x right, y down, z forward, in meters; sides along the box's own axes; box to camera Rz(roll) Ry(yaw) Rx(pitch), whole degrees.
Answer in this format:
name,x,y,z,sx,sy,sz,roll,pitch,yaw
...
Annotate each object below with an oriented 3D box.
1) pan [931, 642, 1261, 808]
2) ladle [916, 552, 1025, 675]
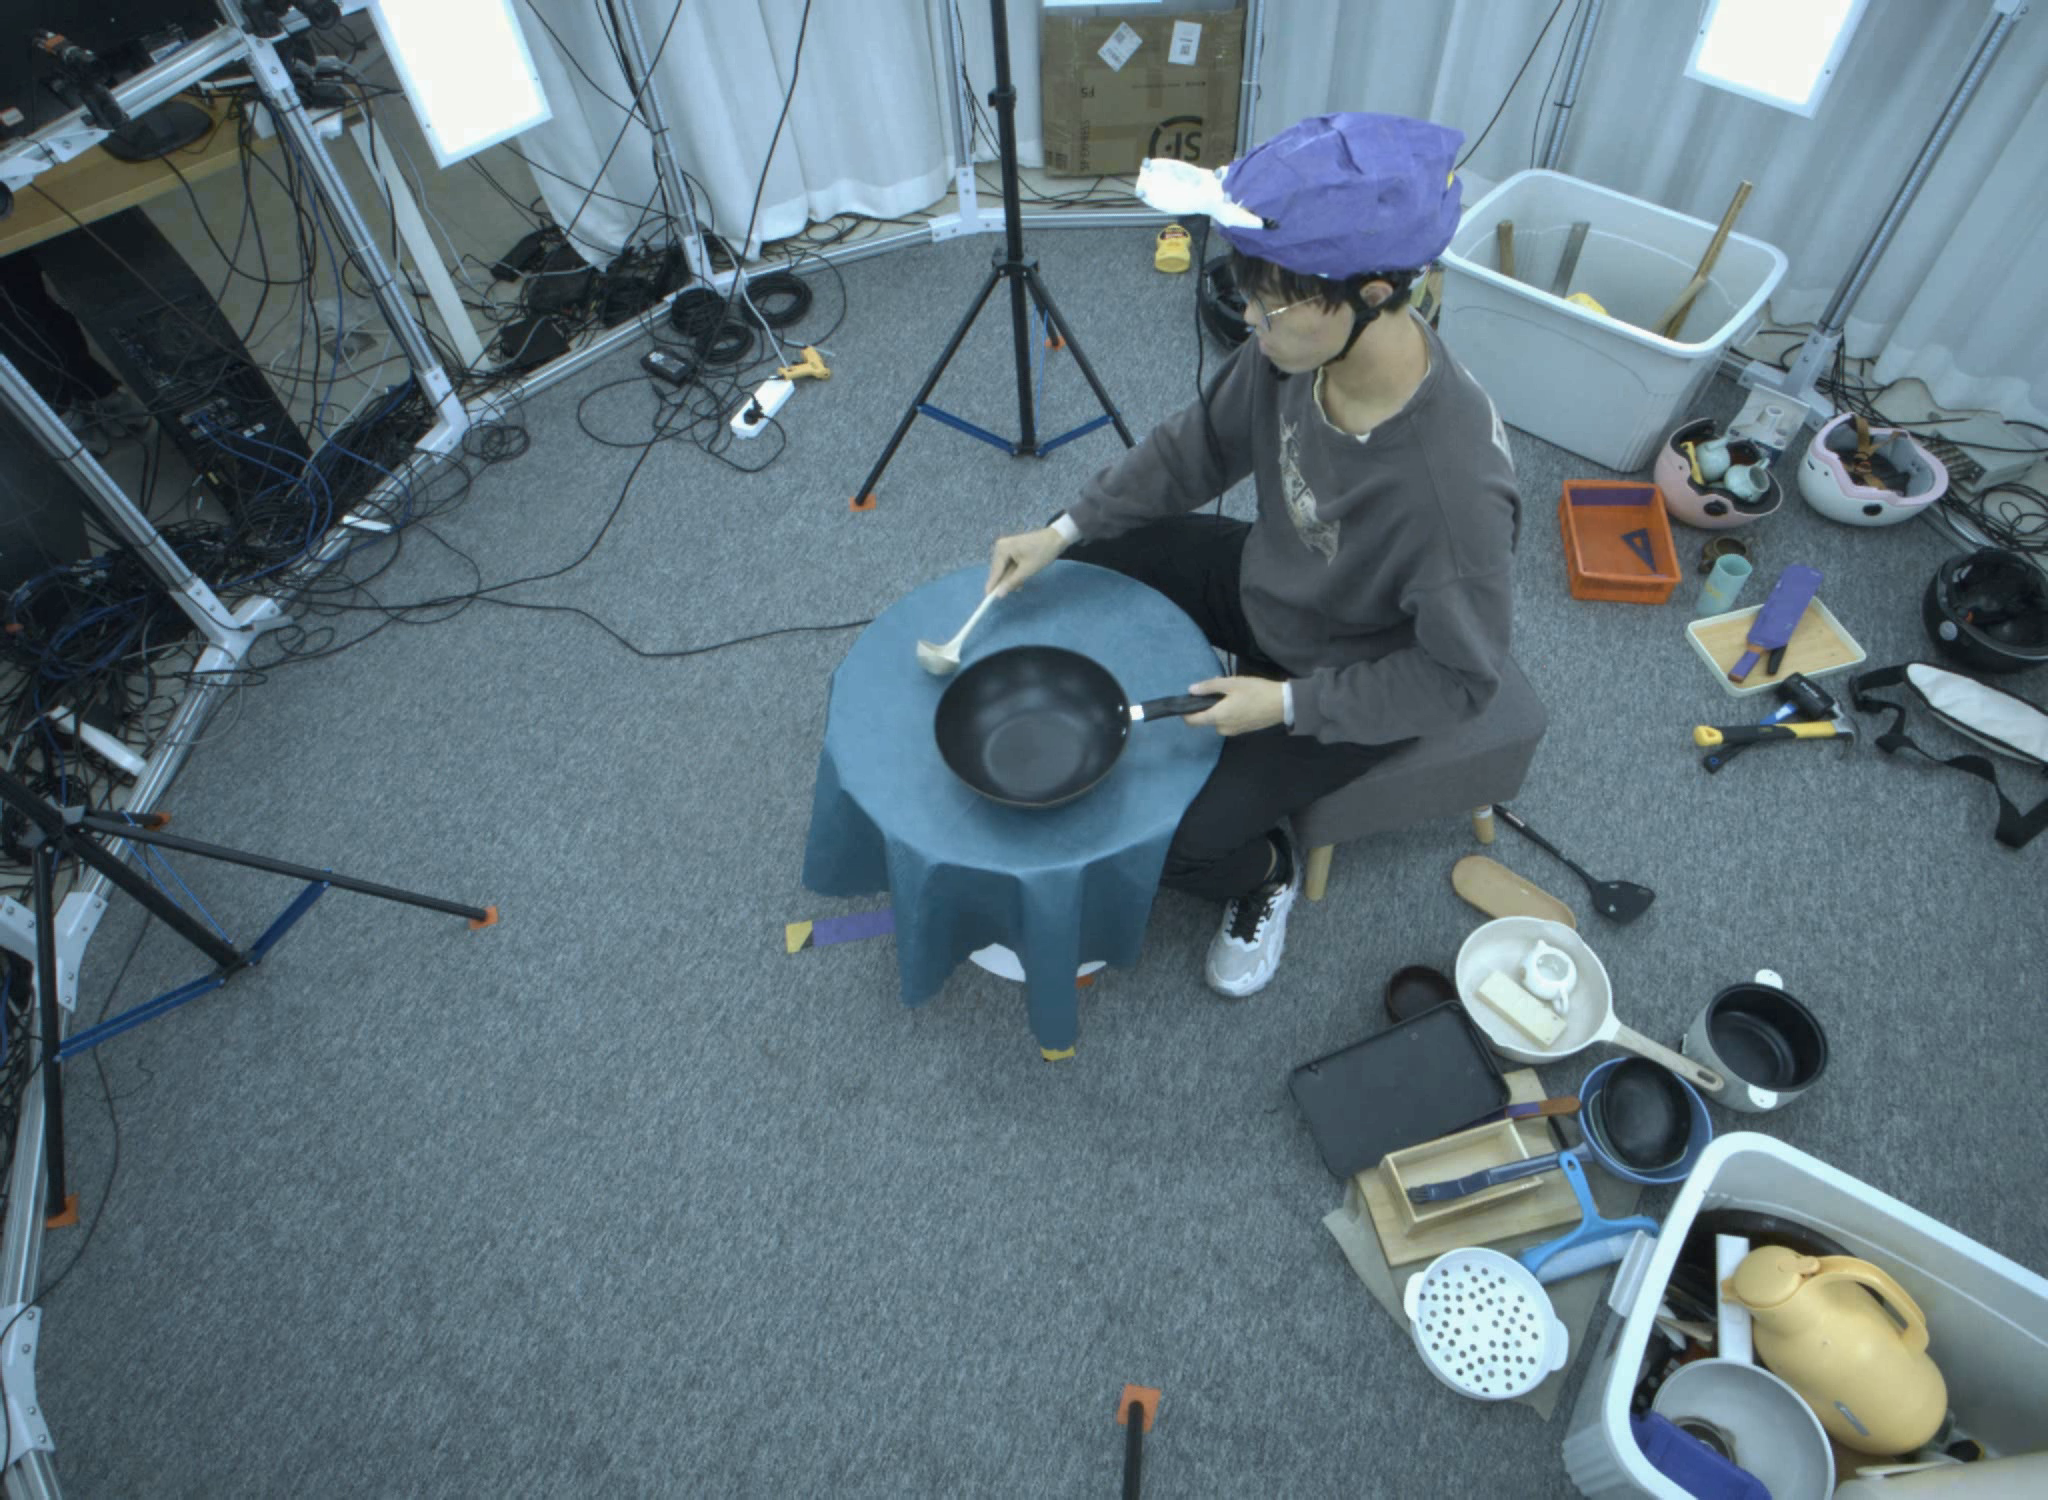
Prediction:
name,x,y,z,sx,sy,sz,roll,pitch,yaw
pan,0.103,-0.032,1.753,0.464,0.088,0.284,-6,54,-3
ladle,-0.075,-0.225,1.867,0.071,0.073,0.255,29,73,17
